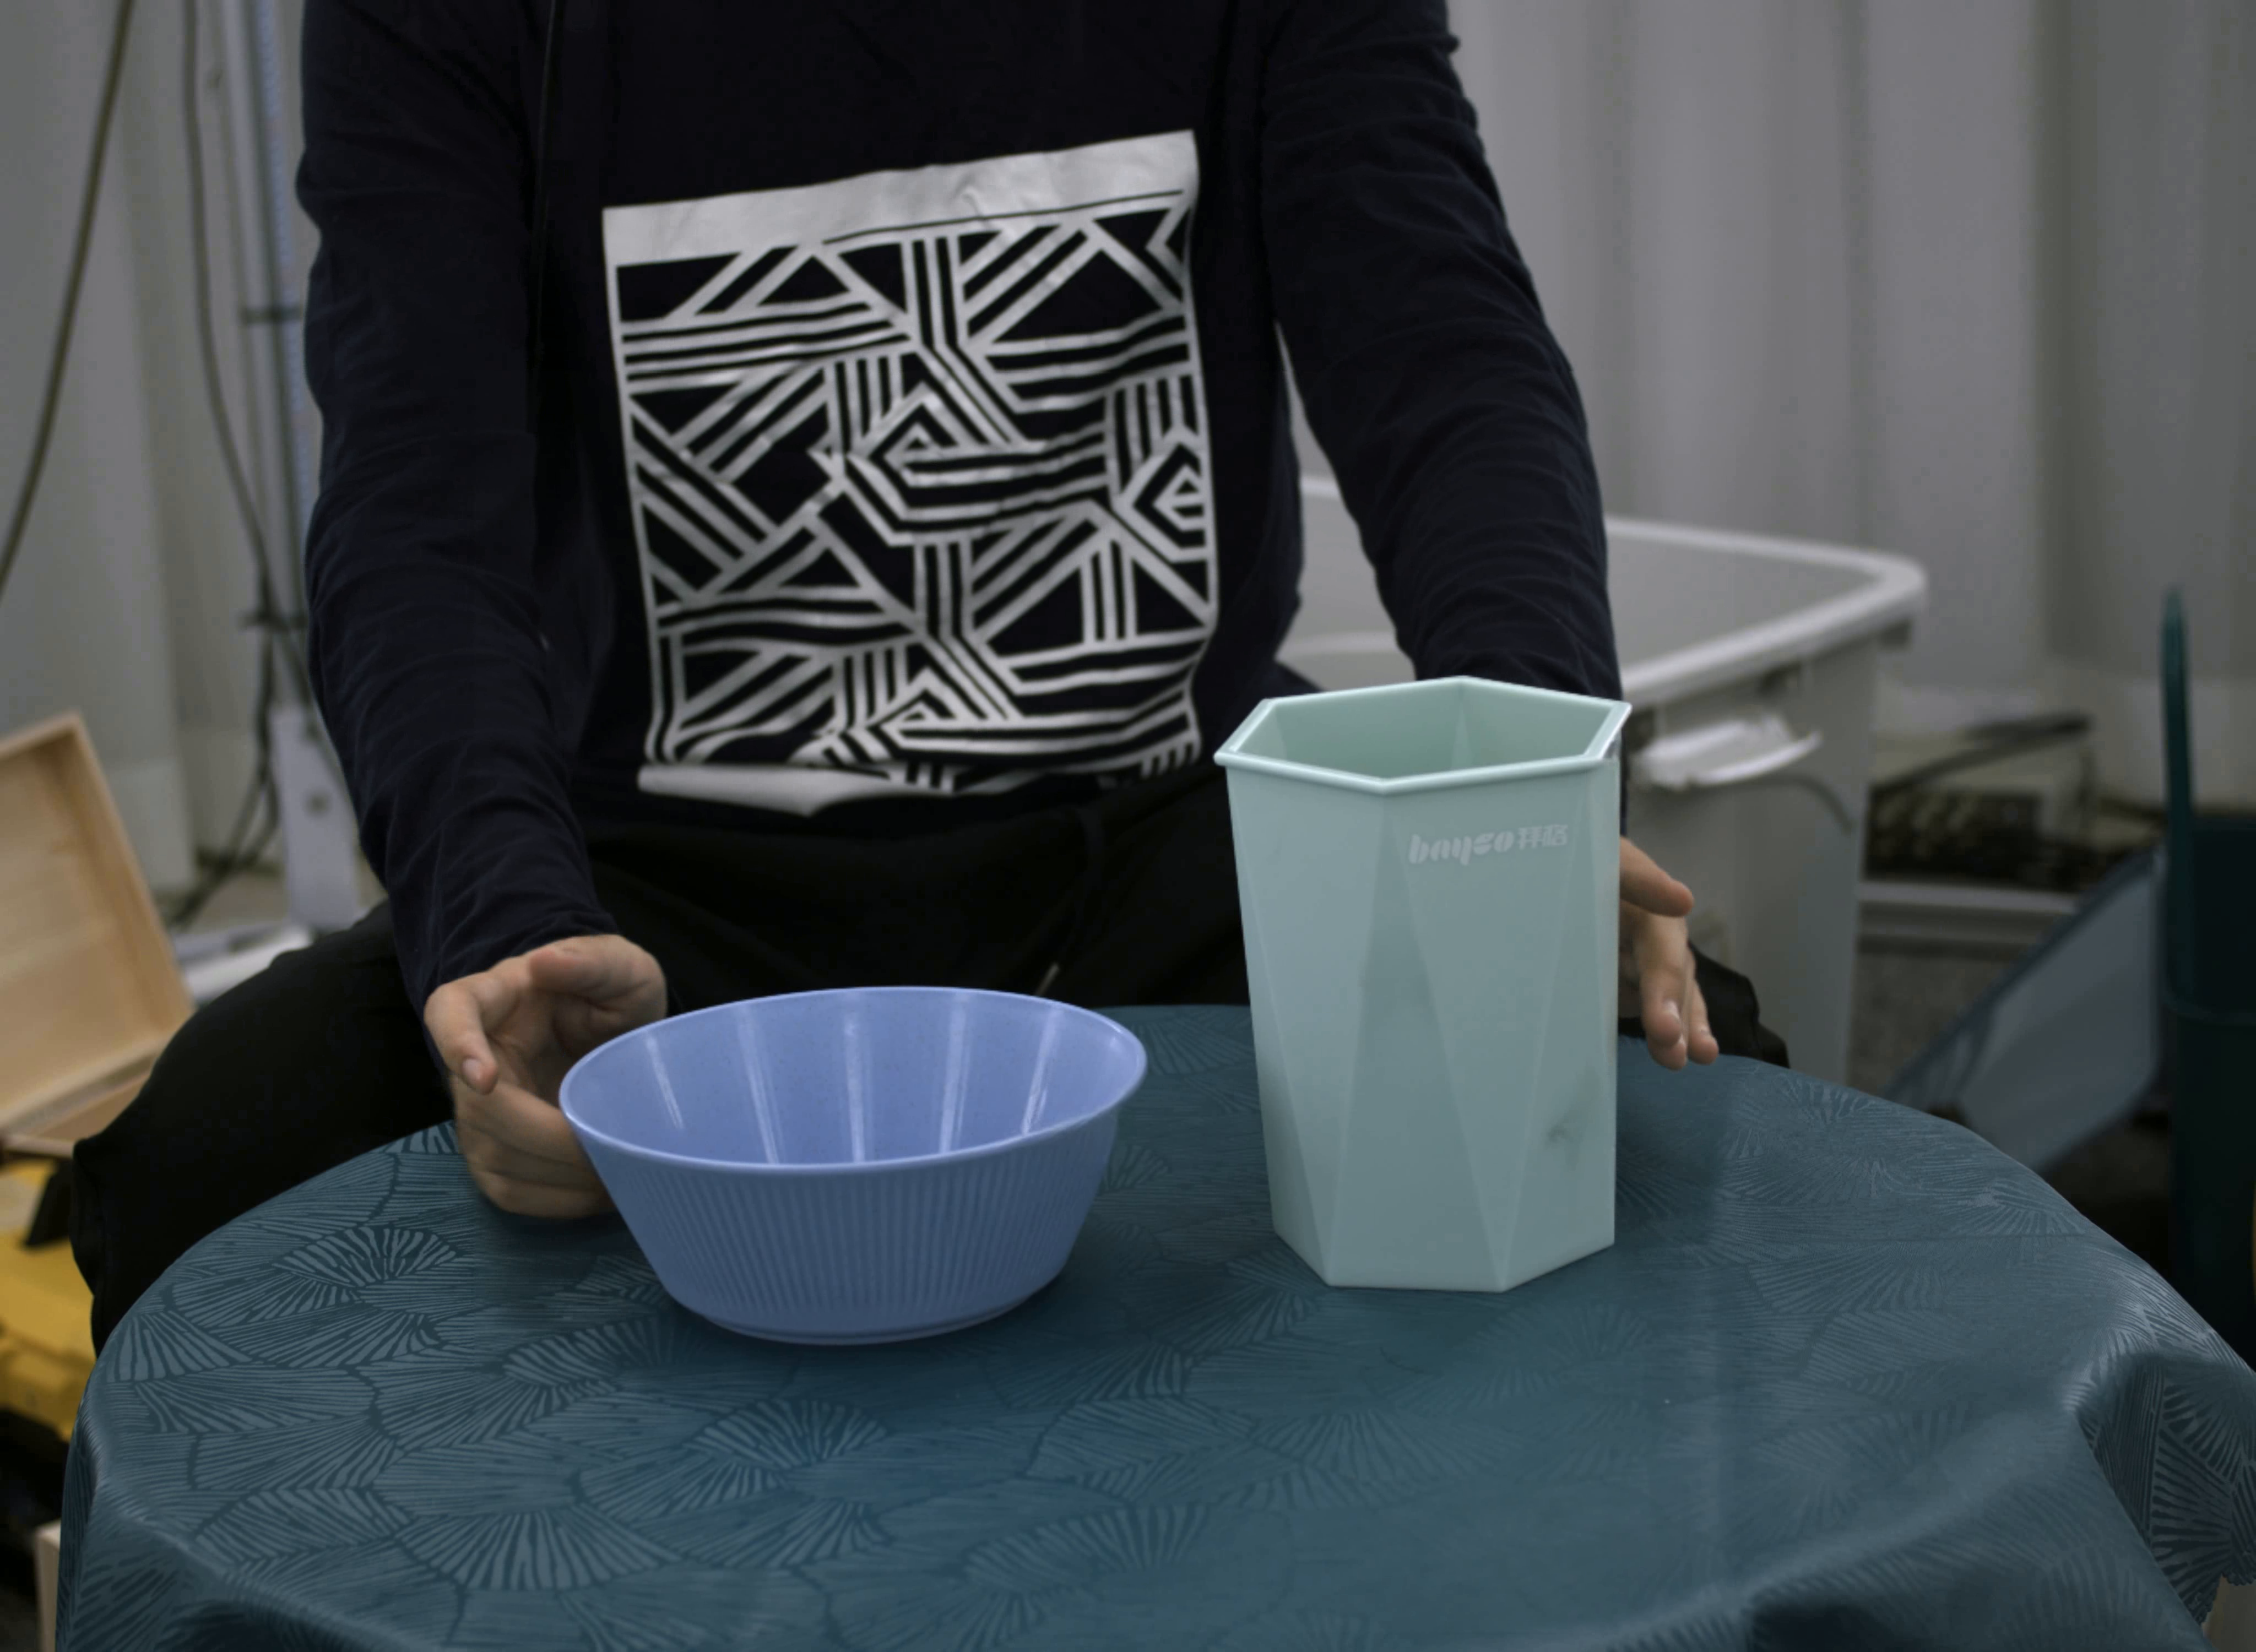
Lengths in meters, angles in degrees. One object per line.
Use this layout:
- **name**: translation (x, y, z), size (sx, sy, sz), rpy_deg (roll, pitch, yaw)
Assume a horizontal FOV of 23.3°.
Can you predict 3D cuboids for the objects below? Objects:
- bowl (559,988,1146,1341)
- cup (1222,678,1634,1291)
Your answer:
- **bowl**: translation (-0.081, 0.104, 1.636), size (0.175, 0.070, 0.177), rpy_deg (-3, 15, 0)
- **cup**: translation (0.092, 0.047, 1.636), size (0.130, 0.162, 0.116), rpy_deg (-6, 12, -18)
